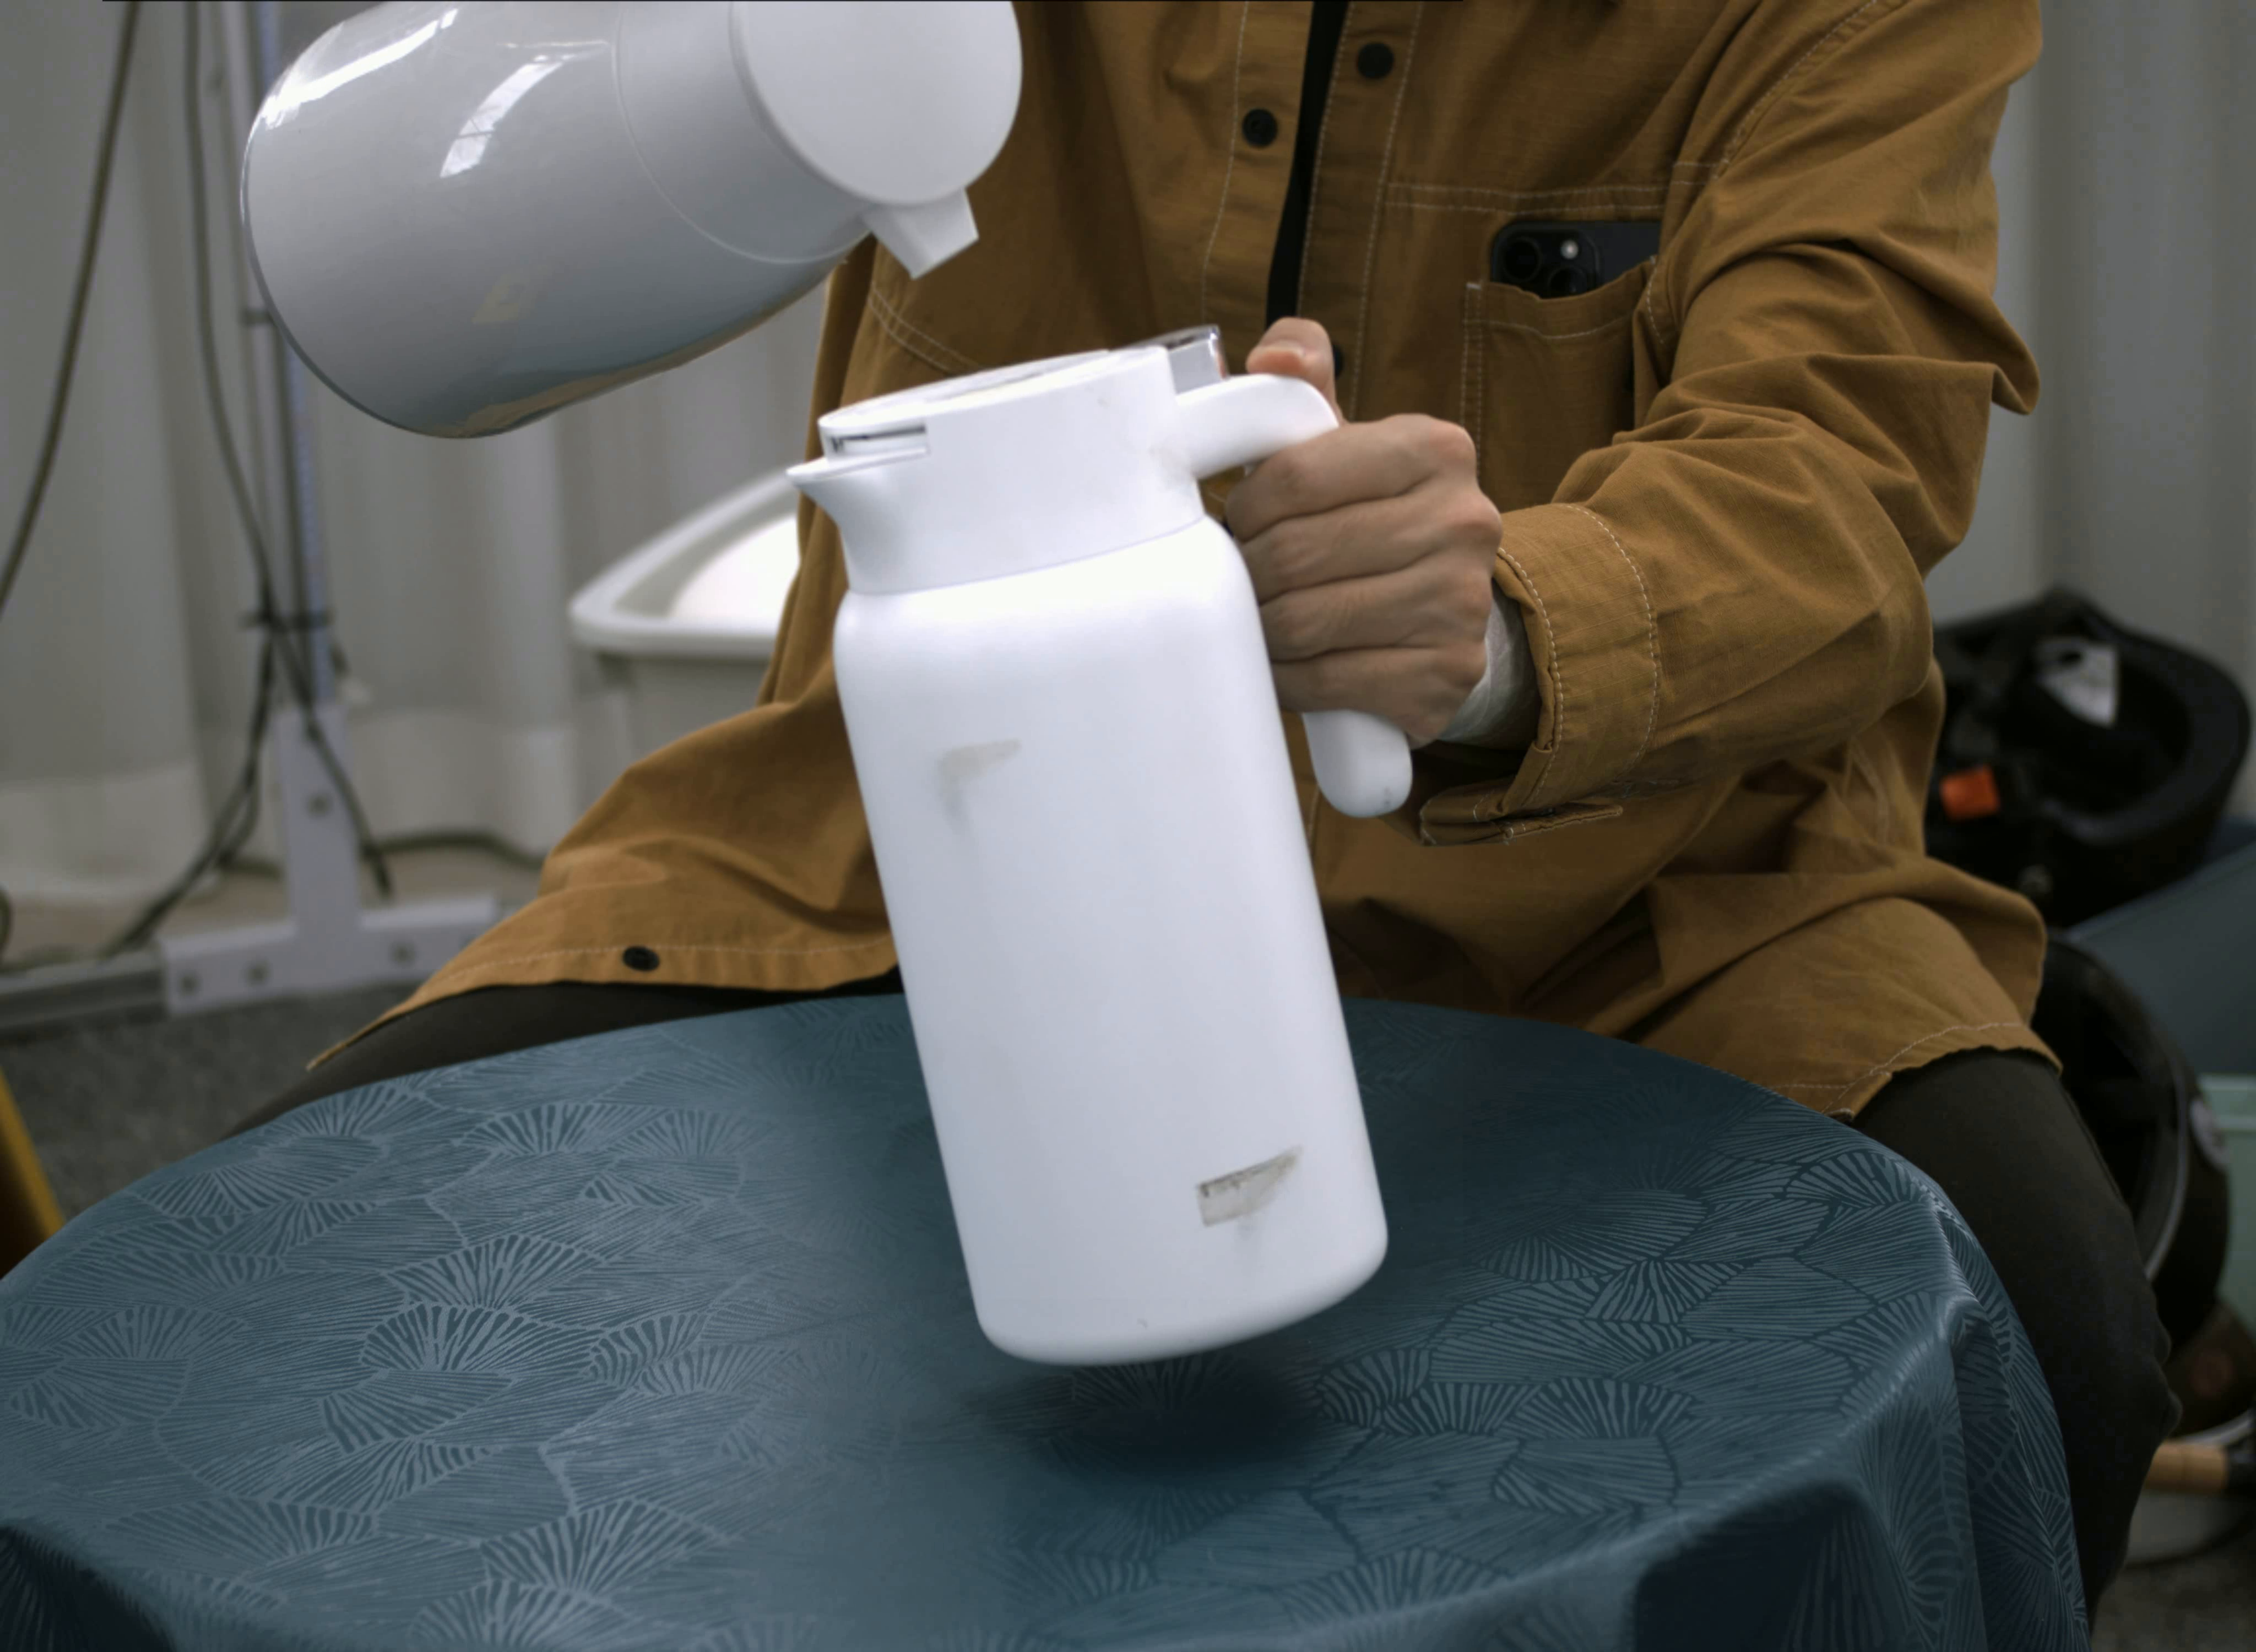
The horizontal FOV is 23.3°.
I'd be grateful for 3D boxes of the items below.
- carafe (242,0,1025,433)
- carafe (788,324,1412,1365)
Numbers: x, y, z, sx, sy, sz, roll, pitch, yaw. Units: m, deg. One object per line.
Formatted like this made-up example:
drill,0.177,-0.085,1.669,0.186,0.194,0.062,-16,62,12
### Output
carafe,-0.144,-0.214,1.552,0.133,0.167,0.248,-35,13,-36
carafe,0.004,0.001,1.512,0.172,0.269,0.124,-17,8,-34
